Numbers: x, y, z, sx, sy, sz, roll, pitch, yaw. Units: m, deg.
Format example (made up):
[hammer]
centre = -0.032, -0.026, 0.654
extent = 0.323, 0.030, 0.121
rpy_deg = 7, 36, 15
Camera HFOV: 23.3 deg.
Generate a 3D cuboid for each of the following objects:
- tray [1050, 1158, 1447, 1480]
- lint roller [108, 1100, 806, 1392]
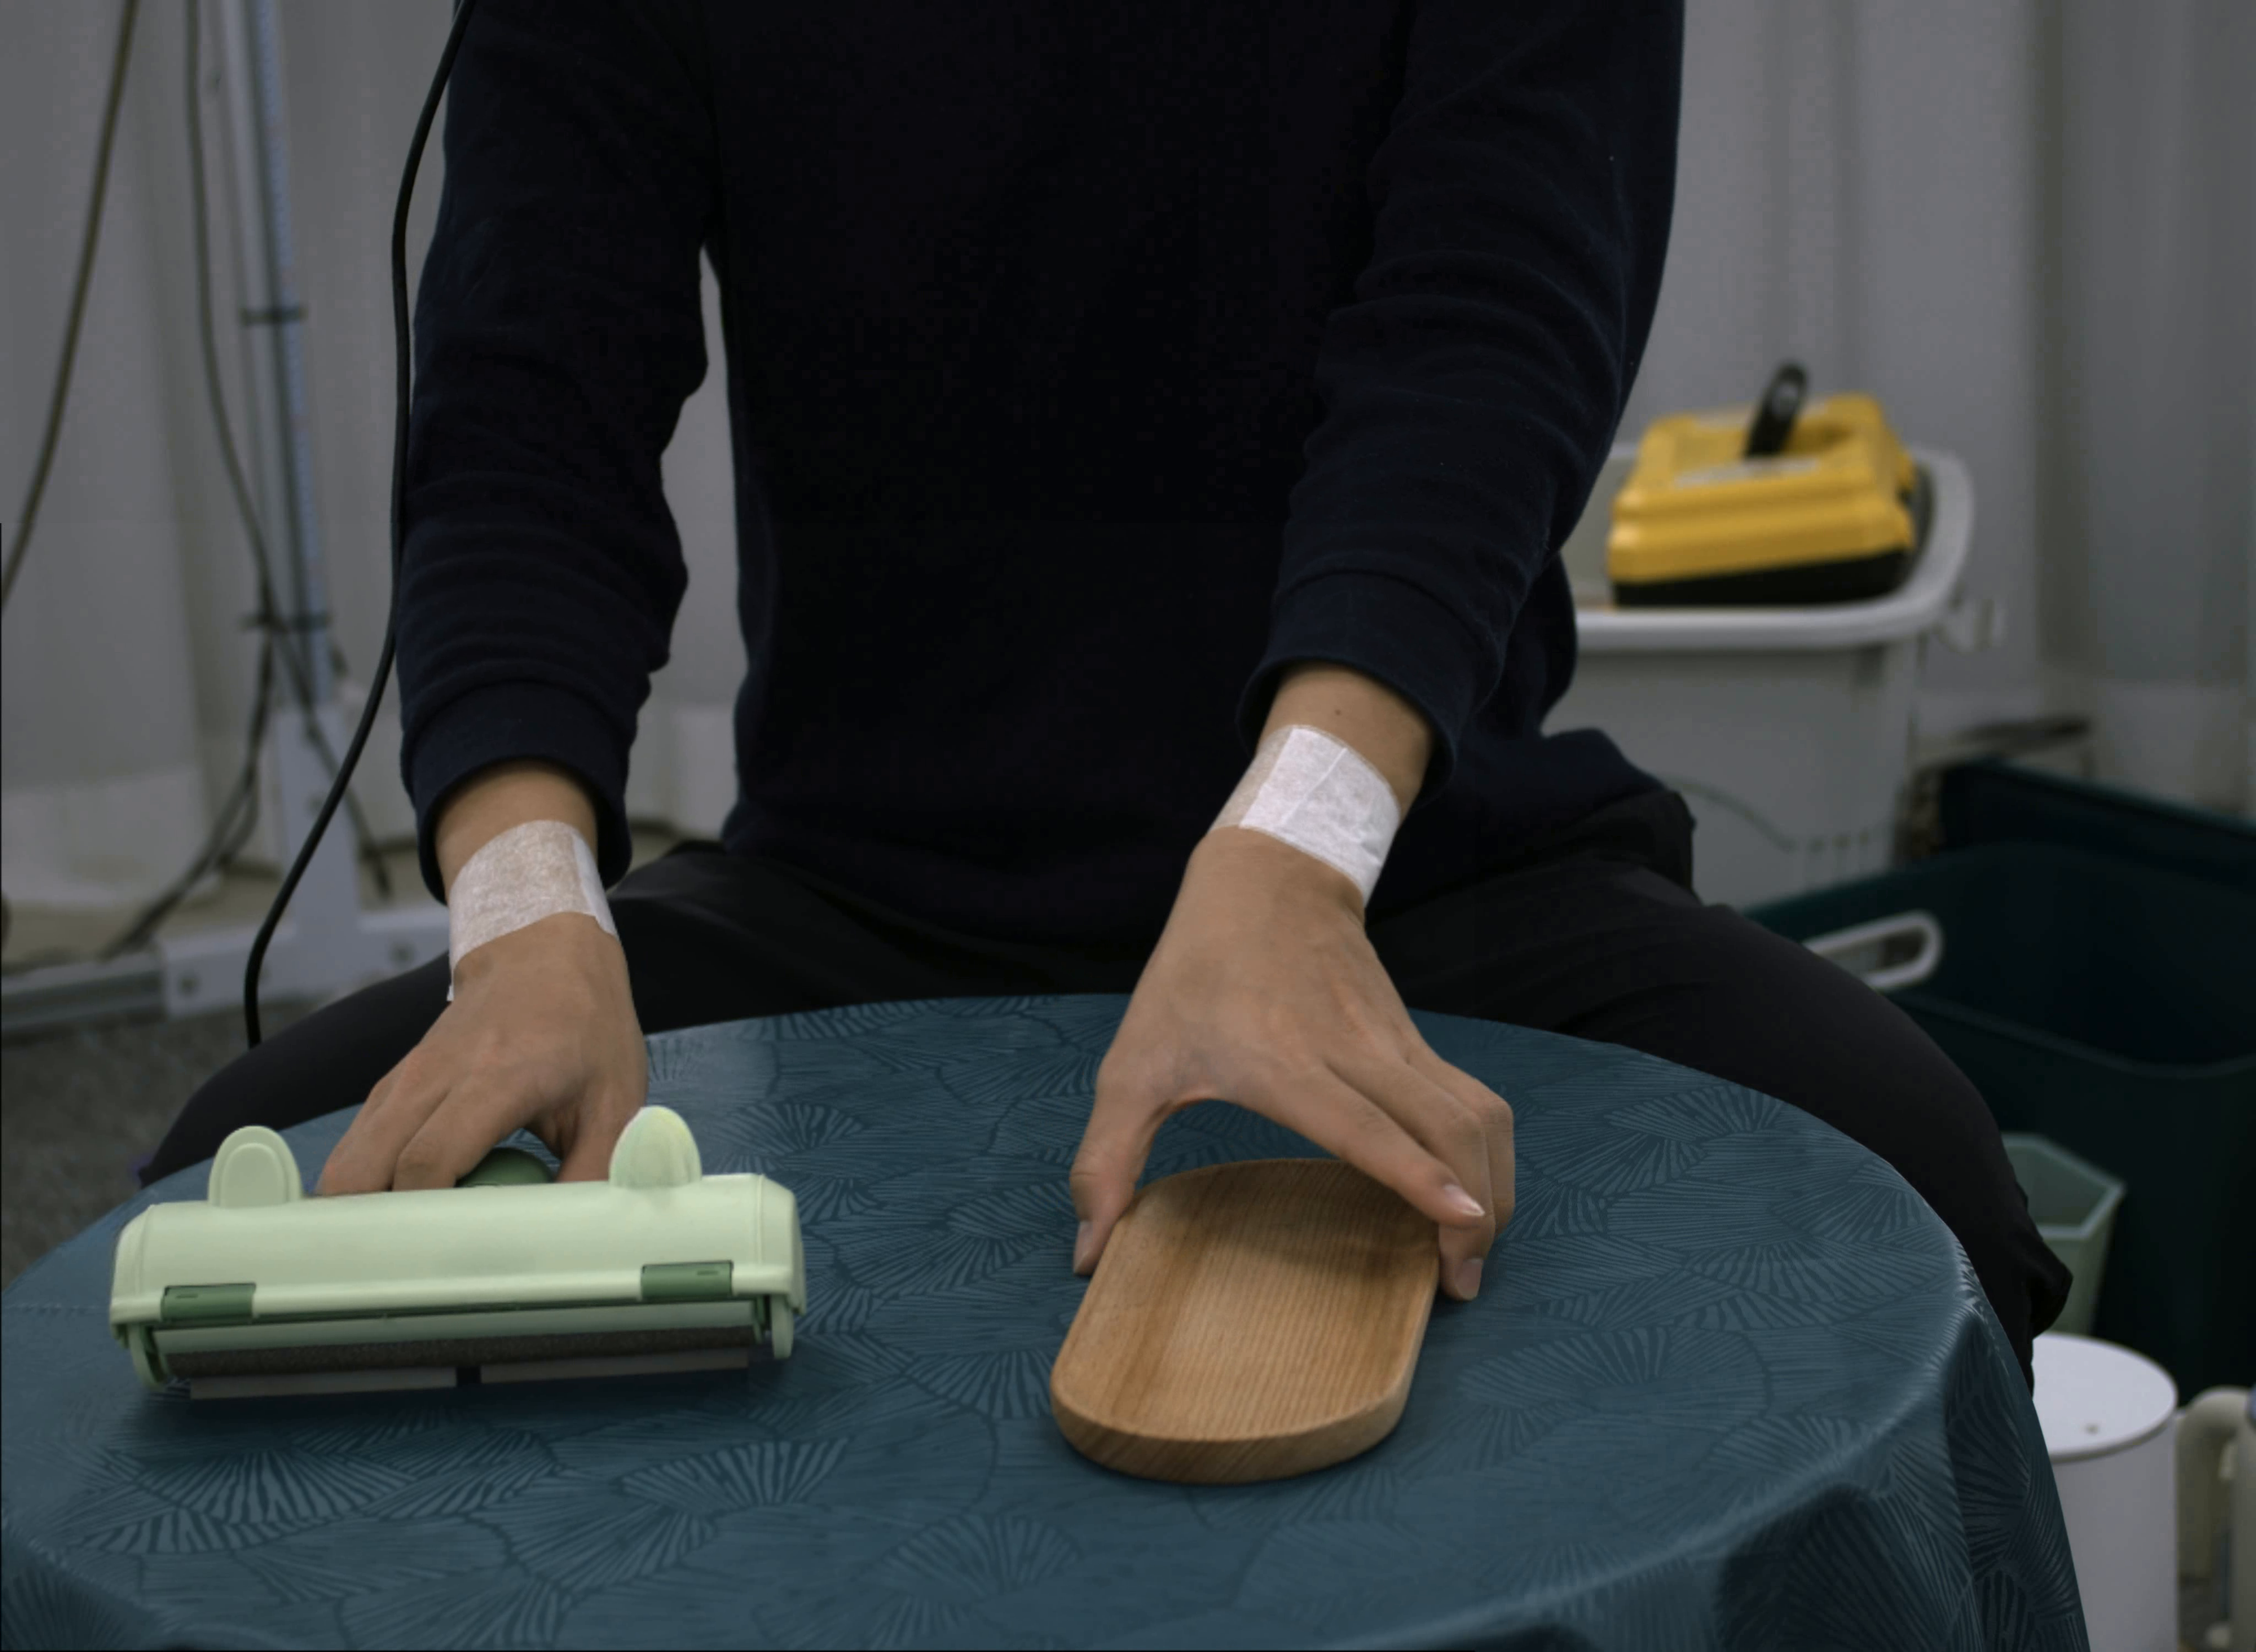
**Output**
[tray]
centre = 0.037, 0.140, 1.582
extent = 0.101, 0.020, 0.232
rpy_deg = 0, 14, 8
[lint roller]
centre = -0.194, 0.104, 1.626
extent = 0.198, 0.081, 0.185
rpy_deg = -3, 21, -1
